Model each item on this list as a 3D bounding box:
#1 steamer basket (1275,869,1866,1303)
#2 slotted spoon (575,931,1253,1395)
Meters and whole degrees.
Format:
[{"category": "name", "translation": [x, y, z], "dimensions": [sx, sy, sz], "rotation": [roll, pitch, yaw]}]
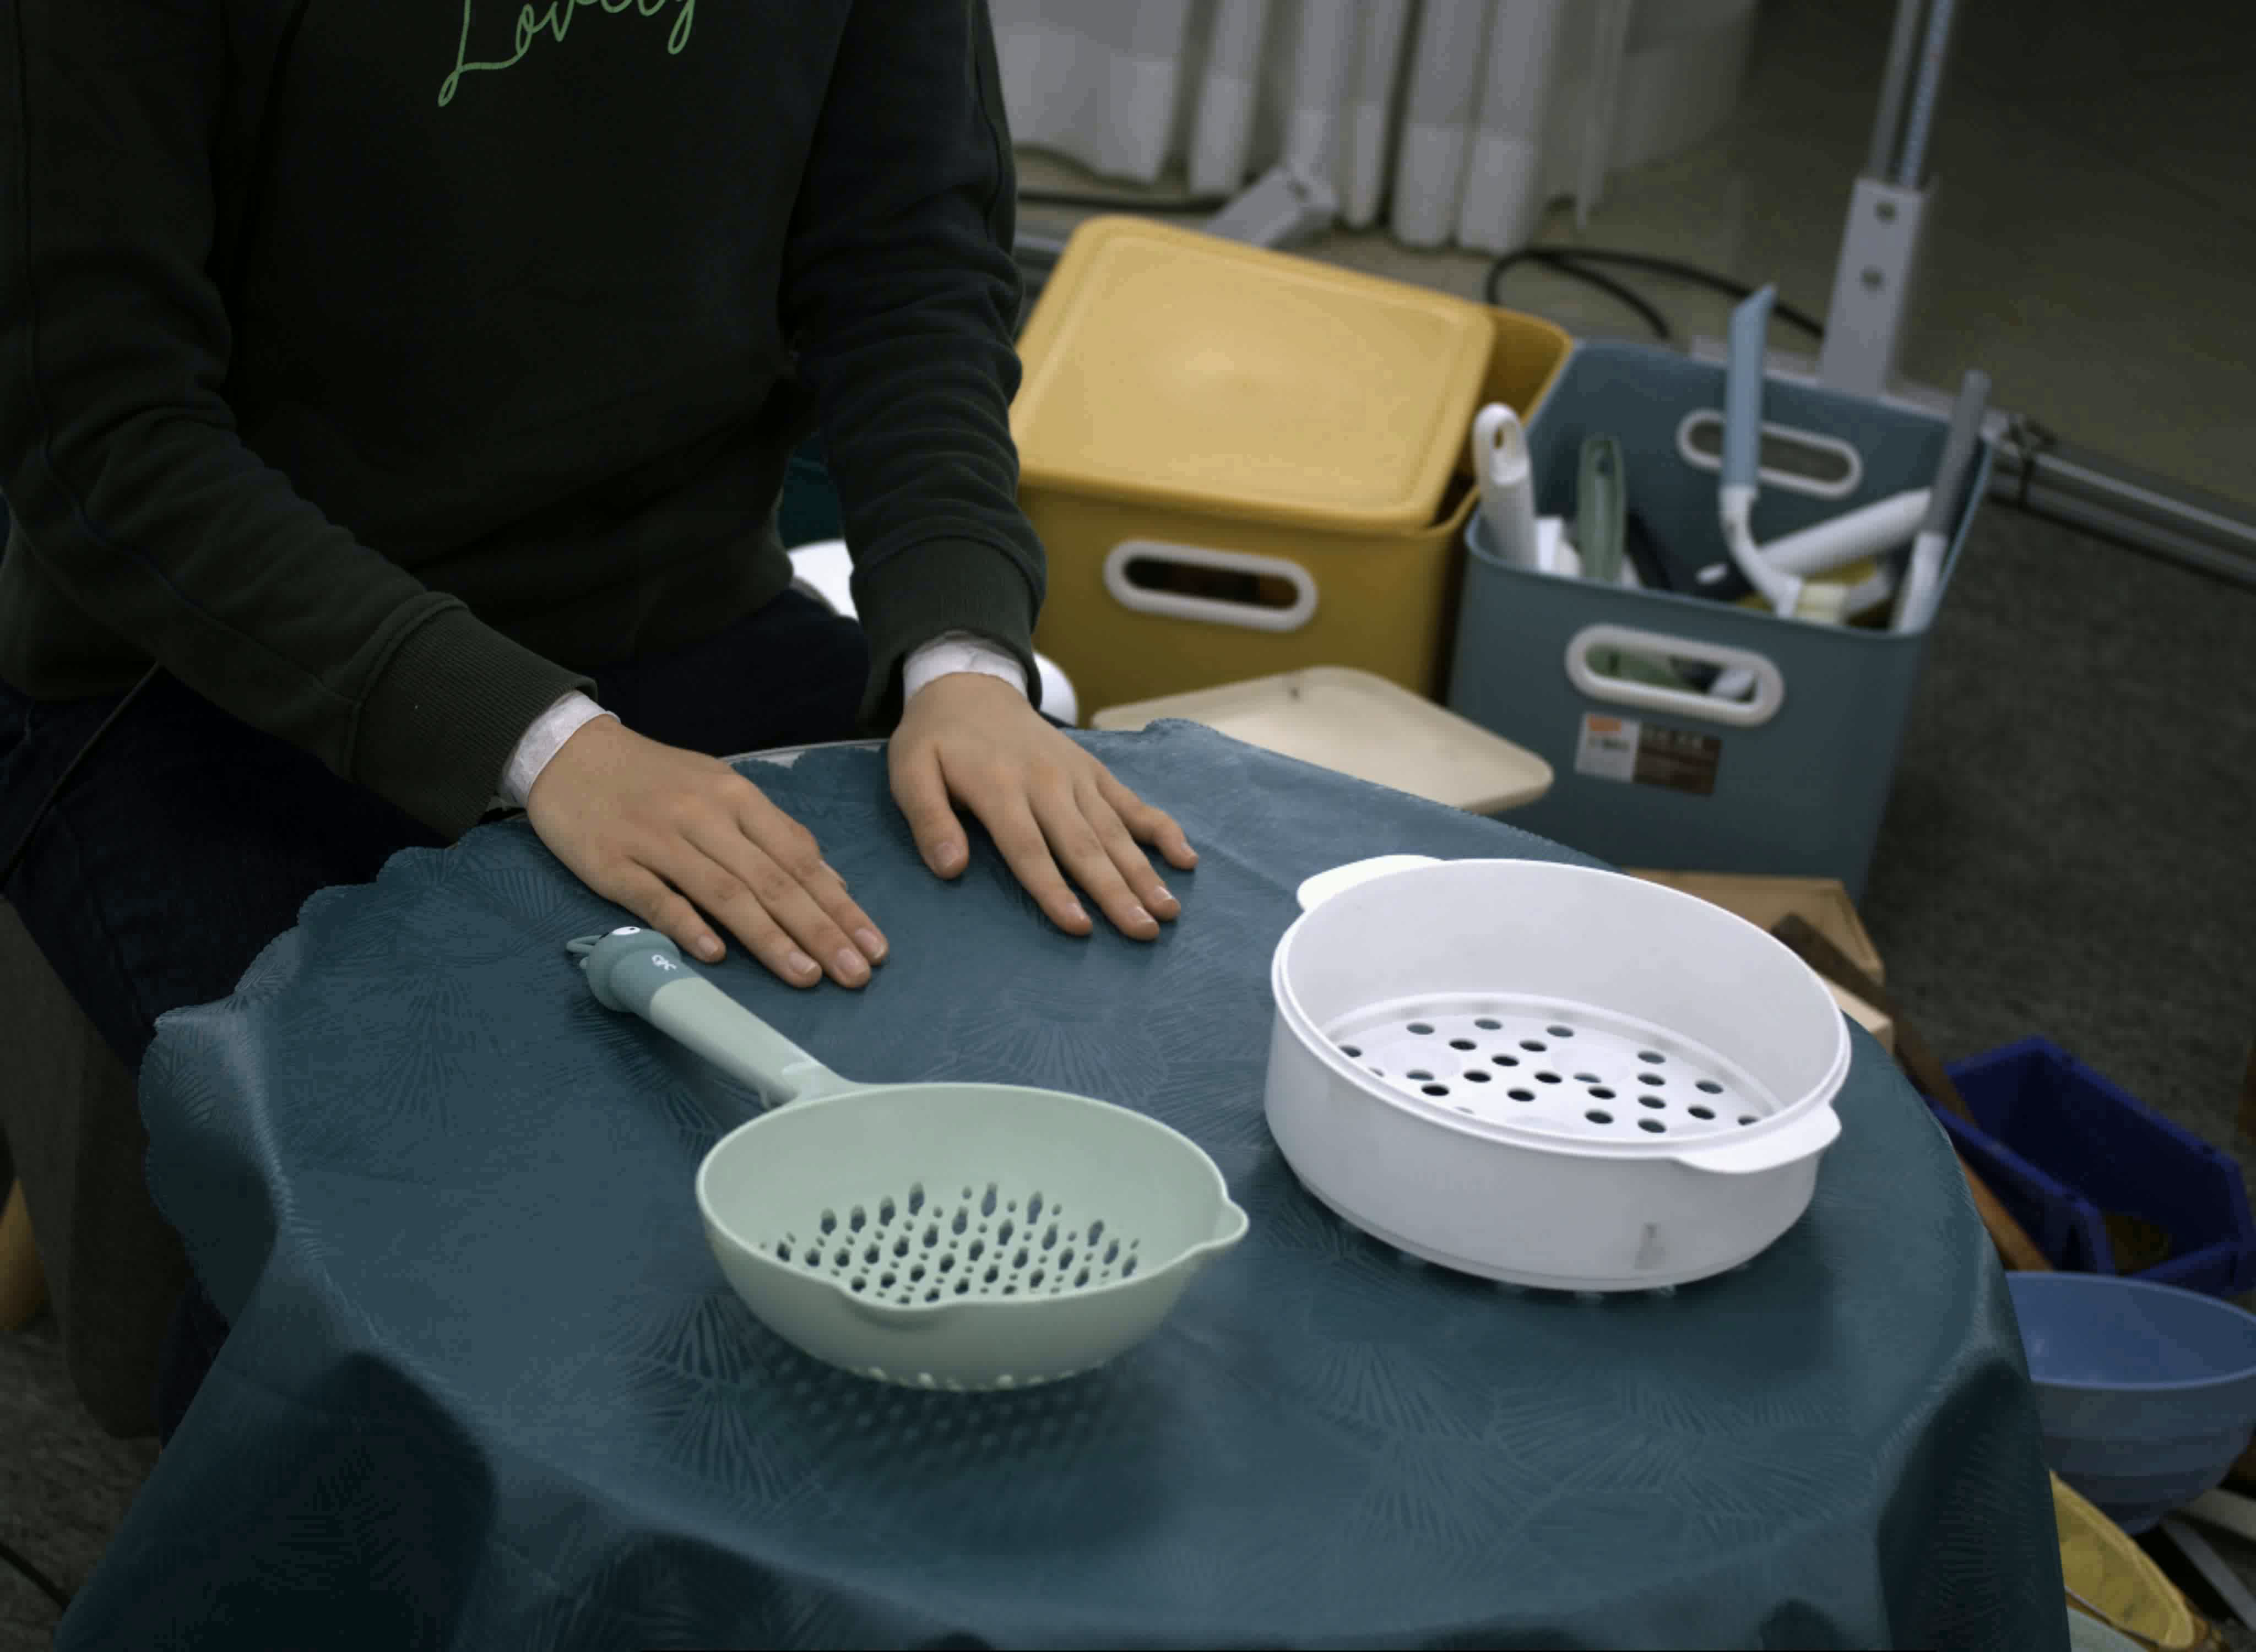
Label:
[{"category": "steamer basket", "translation": [0.149, 0.090, 1.829], "dimensions": [0.201, 0.069, 0.232], "rotation": [-14, 33, -37]}, {"category": "slotted spoon", "translation": [-0.102, 0.096, 1.762], "dimensions": [0.168, 0.075, 0.362], "rotation": [-9, 30, -29]}]
